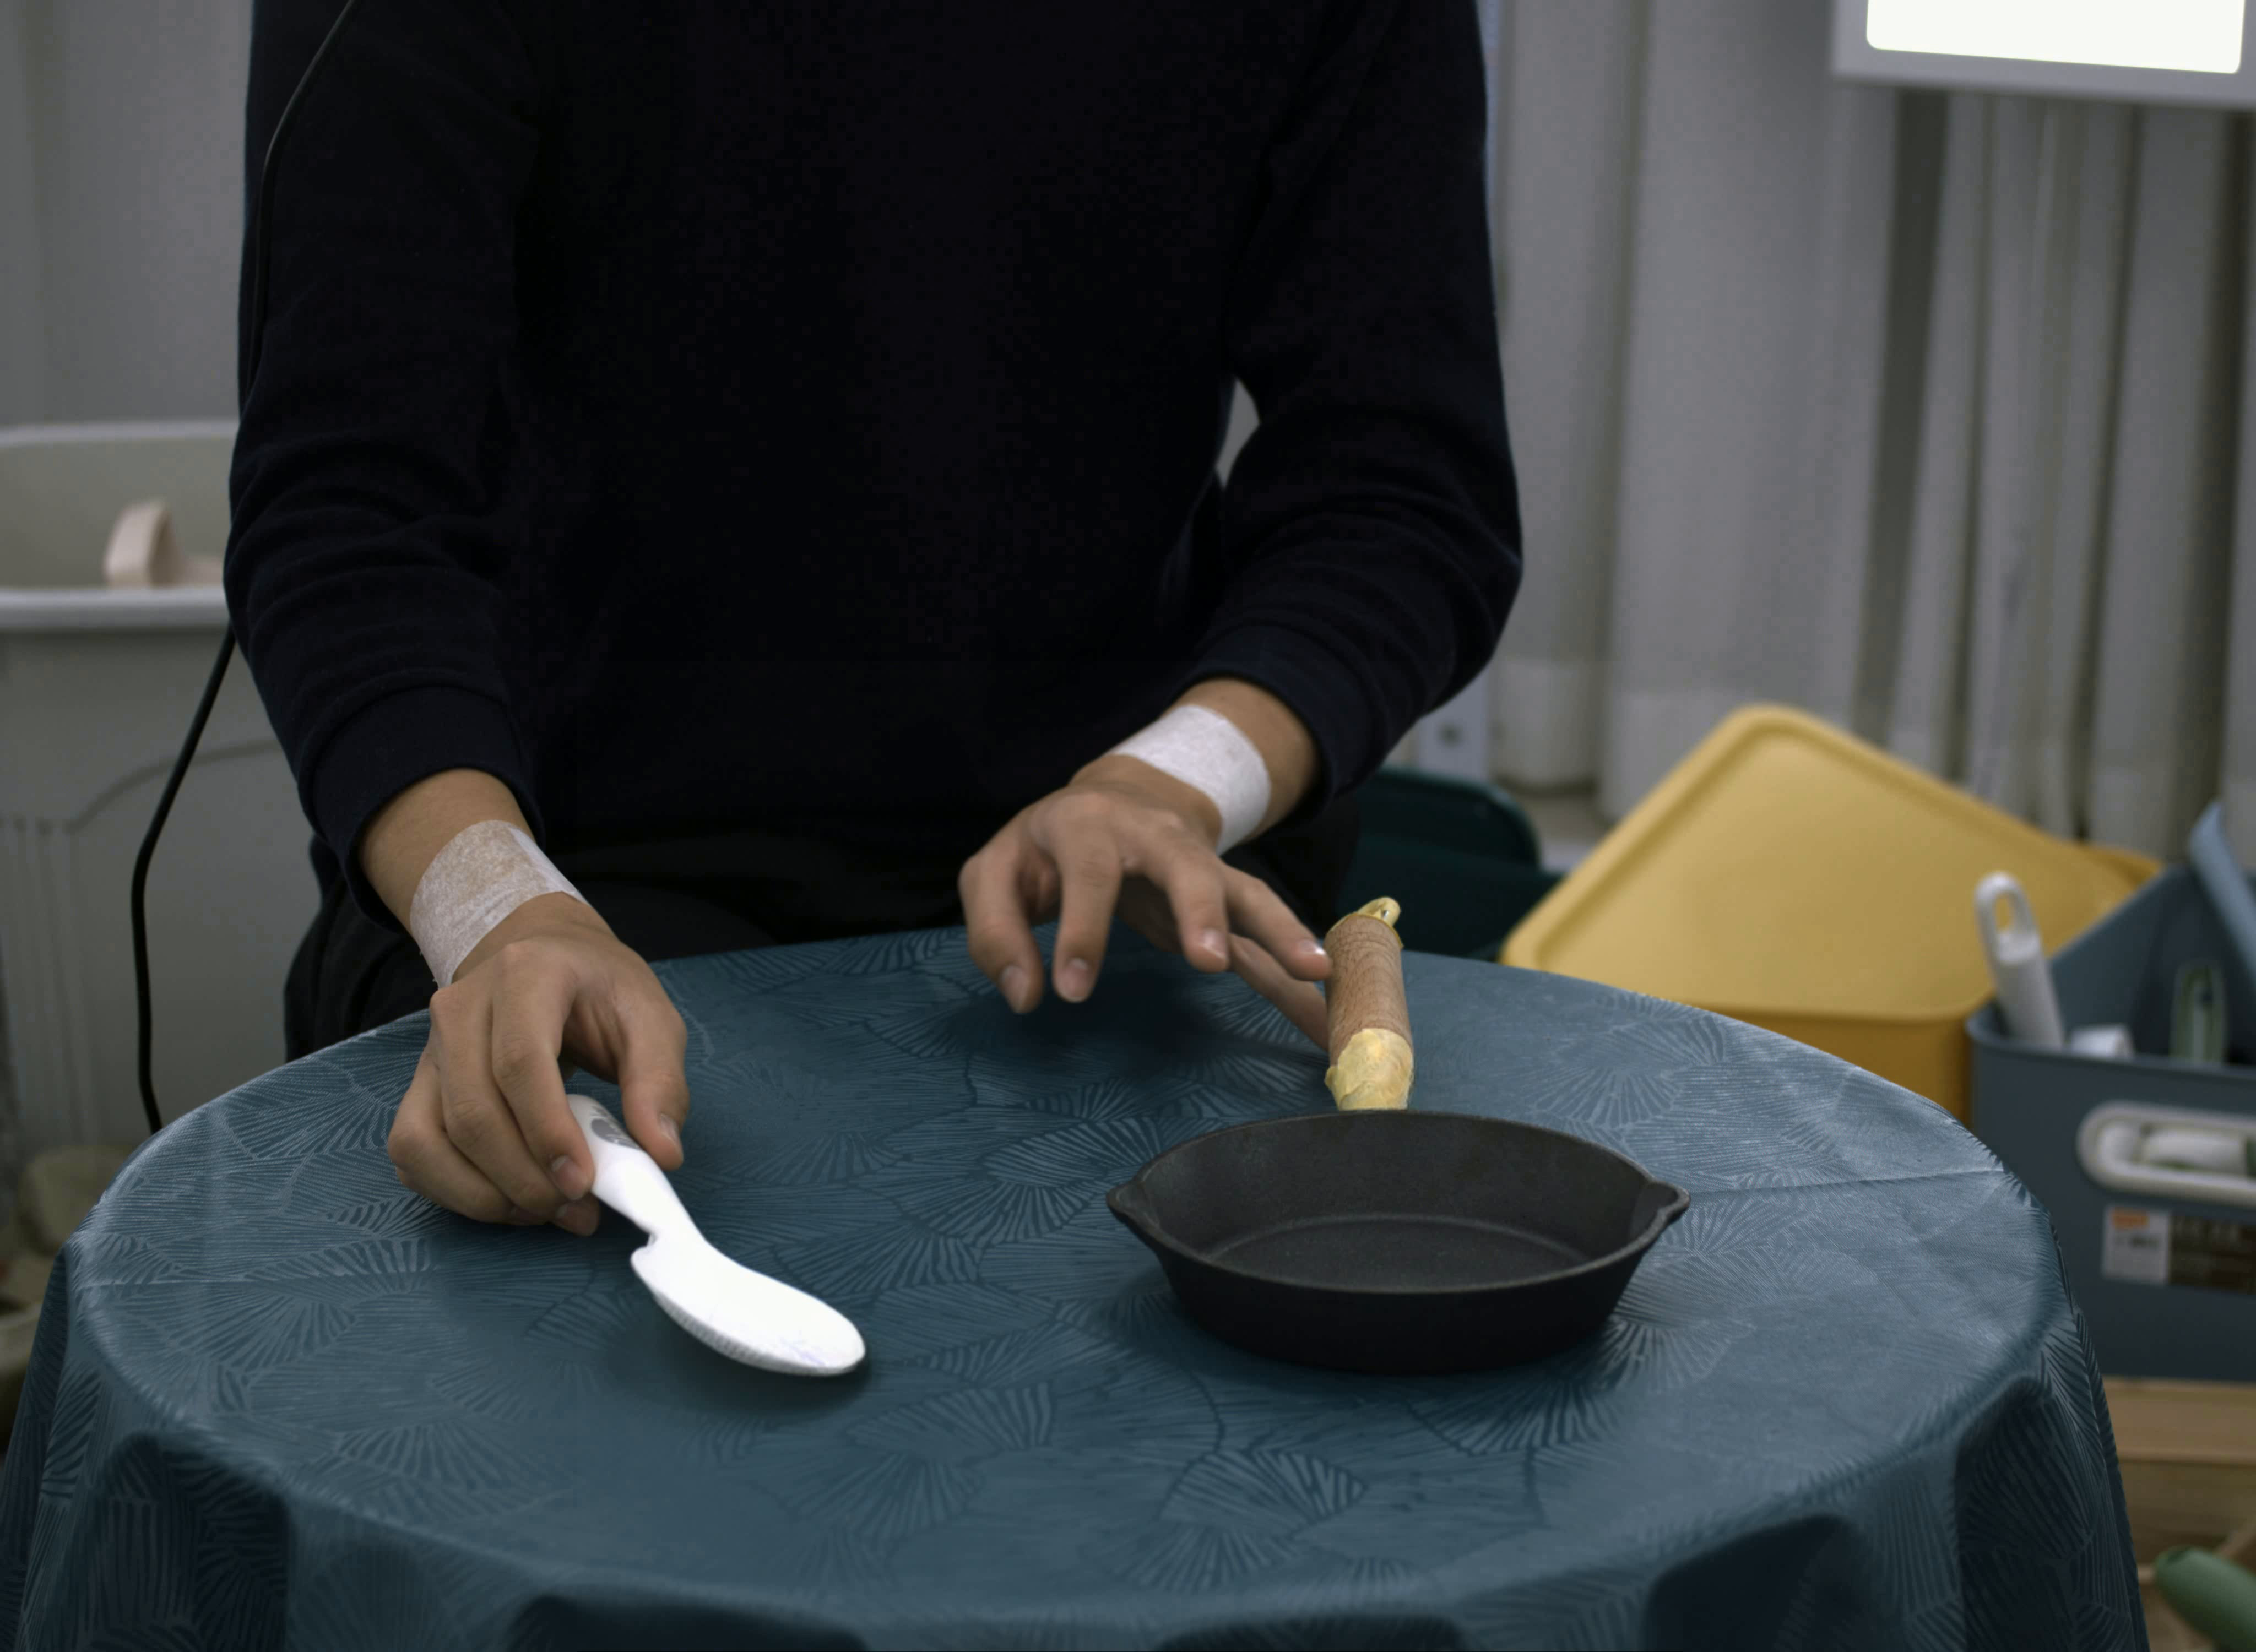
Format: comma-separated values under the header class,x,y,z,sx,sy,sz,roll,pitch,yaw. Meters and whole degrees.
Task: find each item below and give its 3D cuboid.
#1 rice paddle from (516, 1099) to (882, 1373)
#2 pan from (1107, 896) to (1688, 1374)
class,x,y,z,sx,sy,sz,roll,pitch,yaw
rice paddle,-0.129,0.121,1.529,0.069,0.029,0.203,15,6,-29
pan,0.080,0.091,1.608,0.168,0.050,0.322,0,17,1
